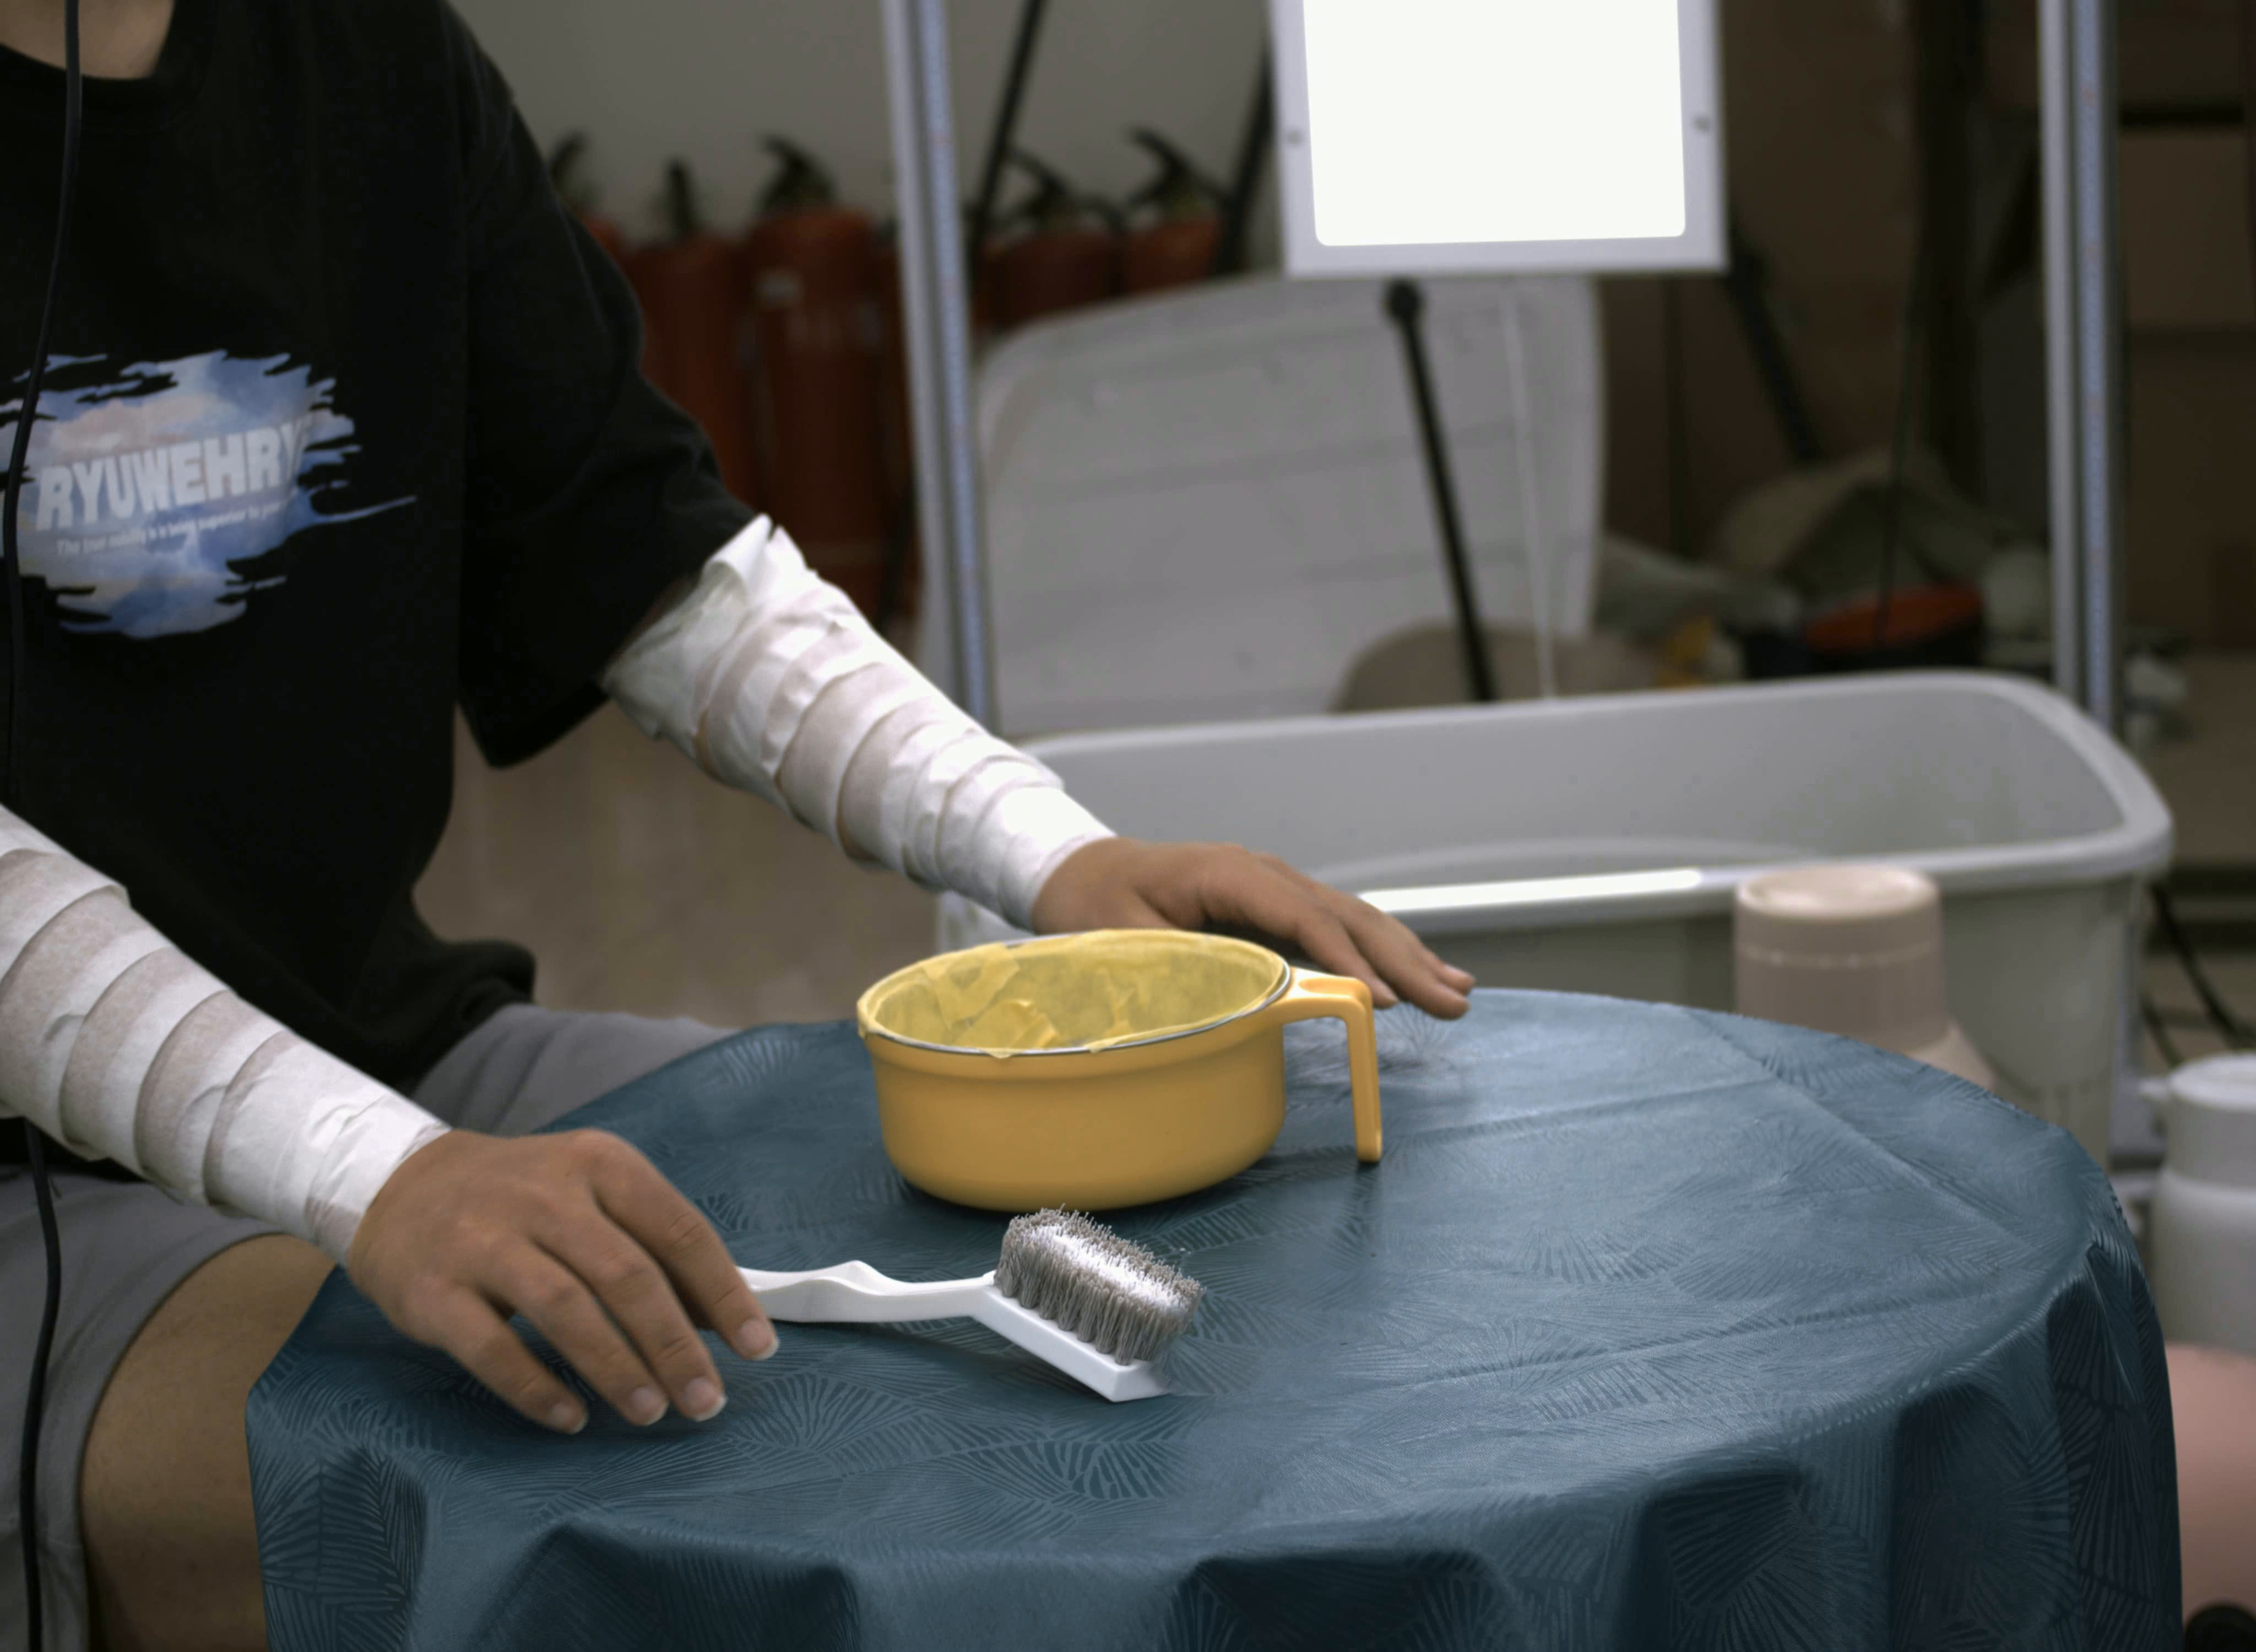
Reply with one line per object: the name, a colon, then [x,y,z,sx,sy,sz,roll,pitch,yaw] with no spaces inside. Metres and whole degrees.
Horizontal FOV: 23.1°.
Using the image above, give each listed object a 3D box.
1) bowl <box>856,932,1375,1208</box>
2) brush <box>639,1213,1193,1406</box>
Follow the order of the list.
bowl: [-0.004,0.086,1.917,0.180,0.074,0.152,-2,9,6]
brush: [-0.074,0.139,1.768,0.033,0.050,0.249,-19,20,-41]
